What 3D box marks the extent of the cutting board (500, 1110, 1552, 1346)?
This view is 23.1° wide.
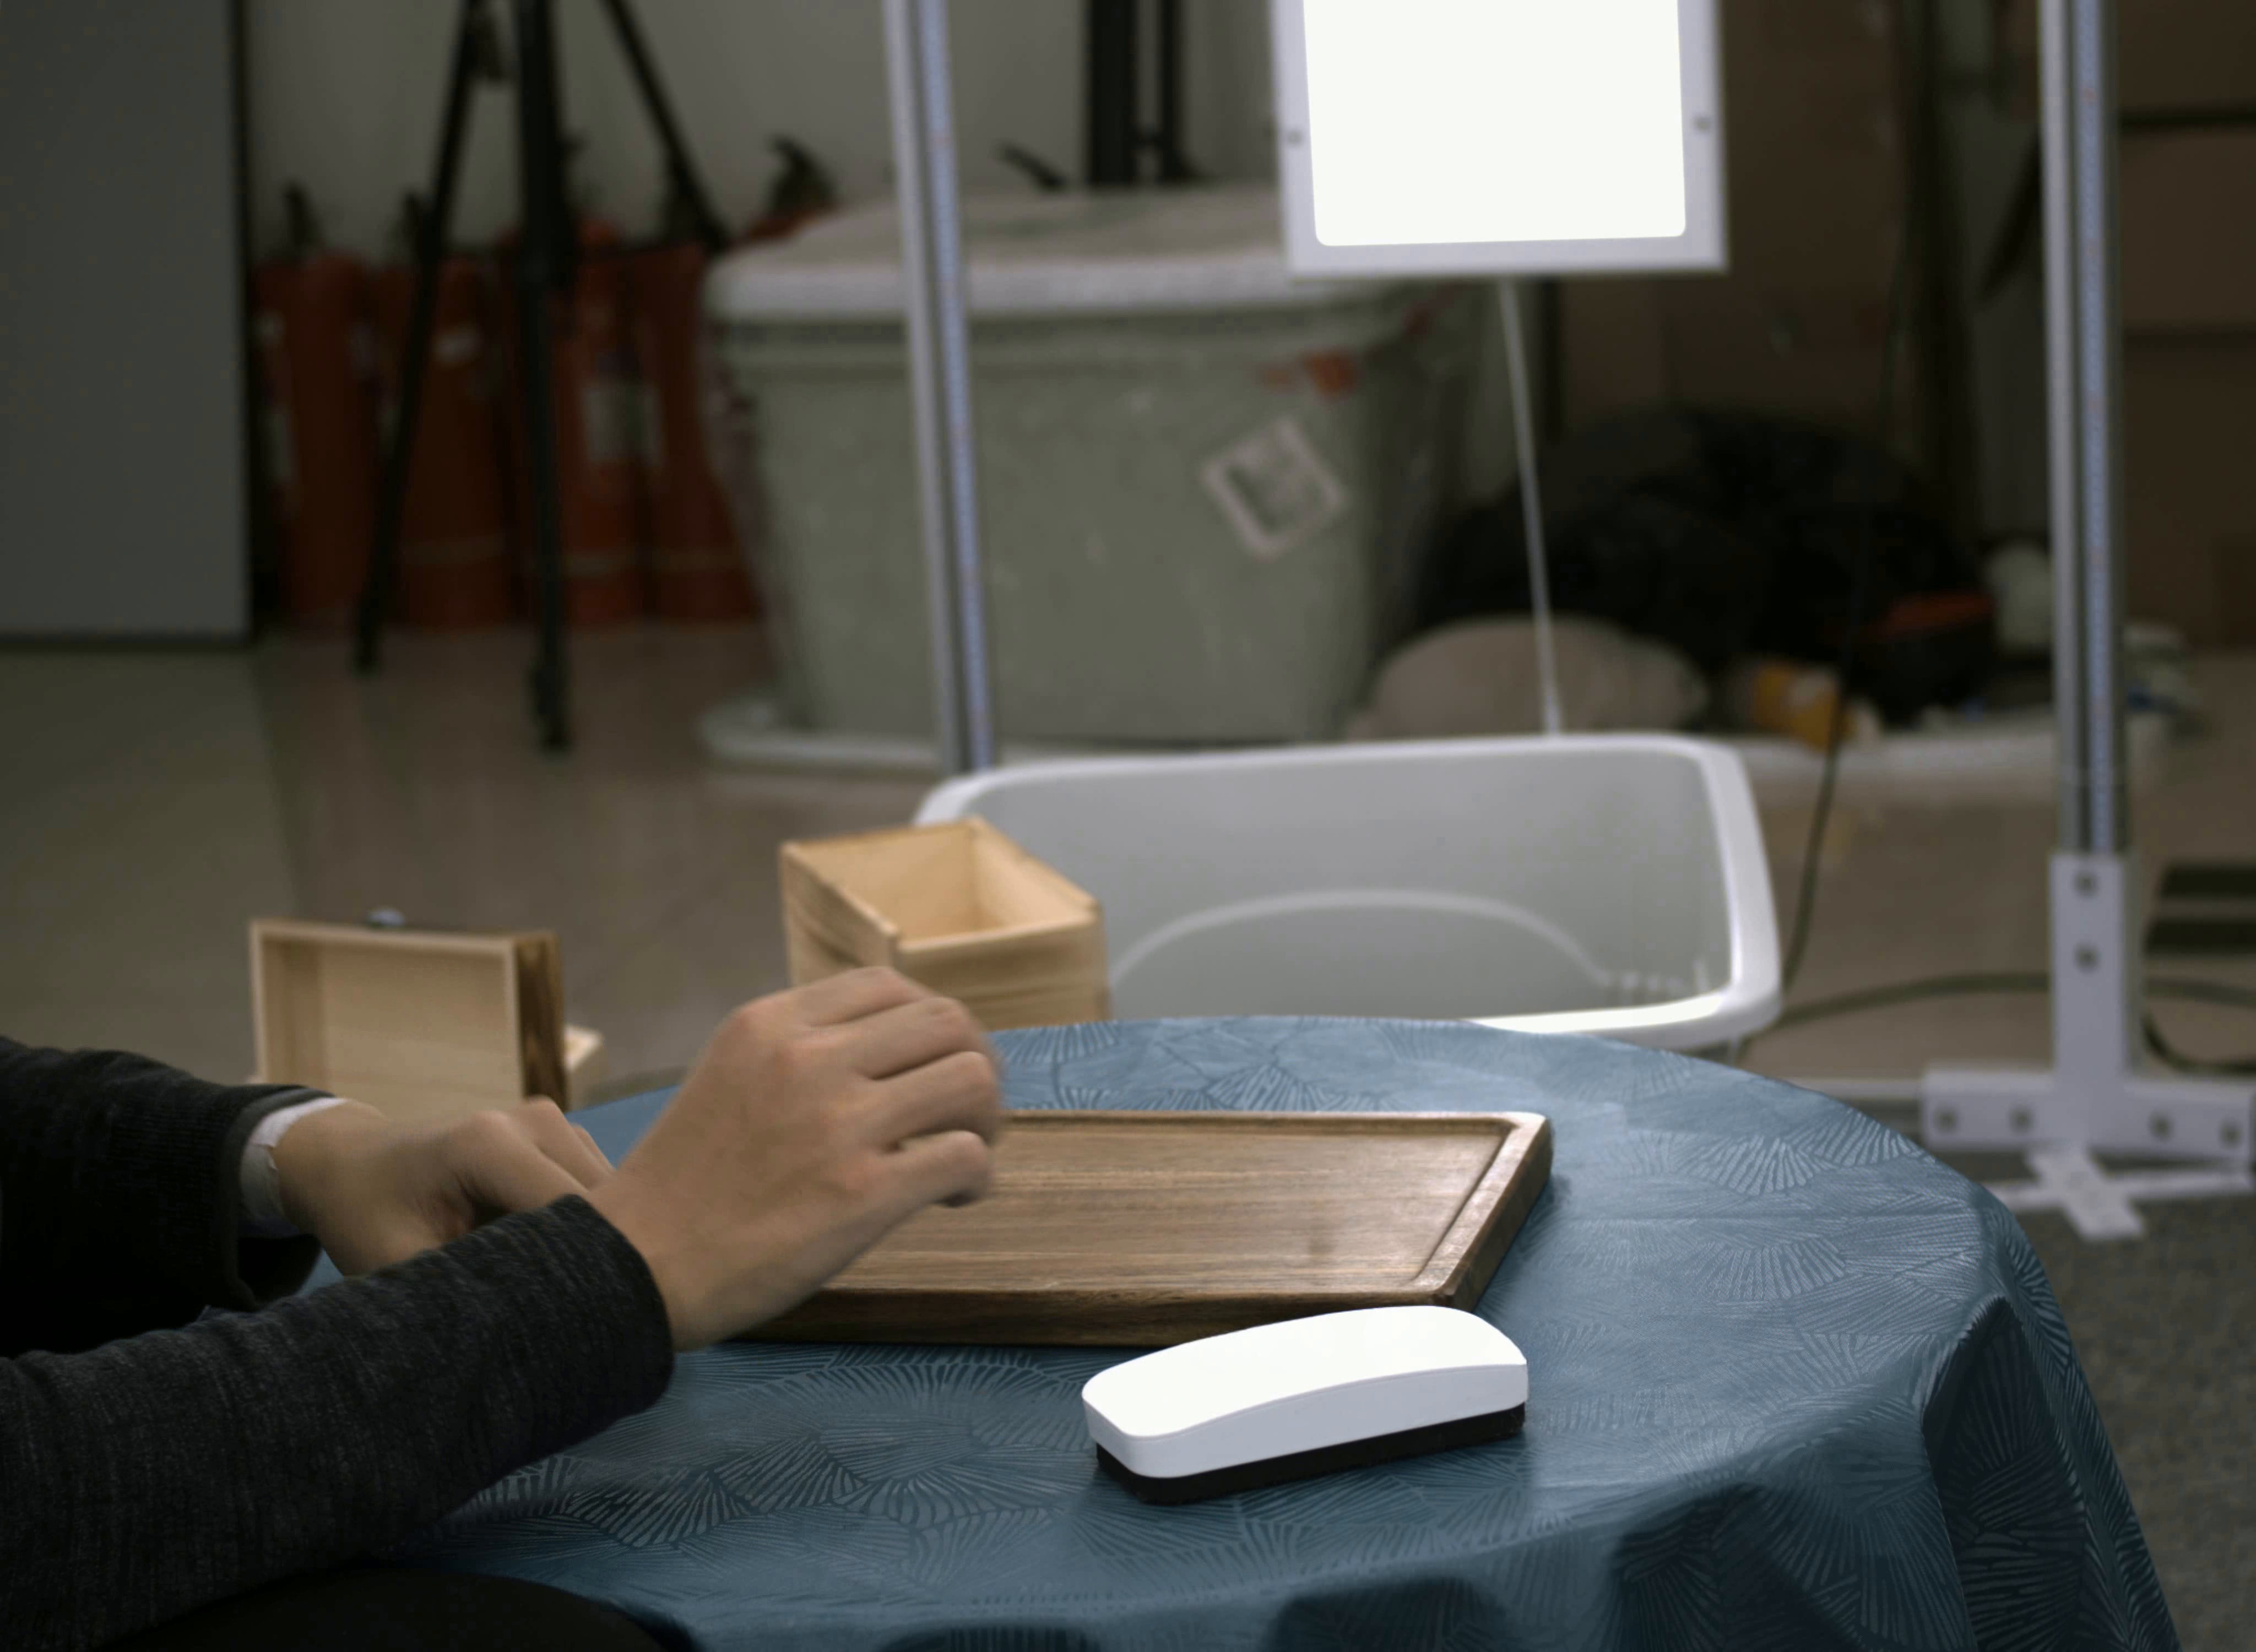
[{"bbox_3d":[-0.044,0.132,1.847,0.356,0.023,0.198,-1,14,17],"label":"cutting board"}]

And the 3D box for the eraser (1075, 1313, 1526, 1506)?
[{"bbox_3d":[0.052,0.170,1.638,0.129,0.034,0.064,-8,15,-16],"label":"eraser"}]
